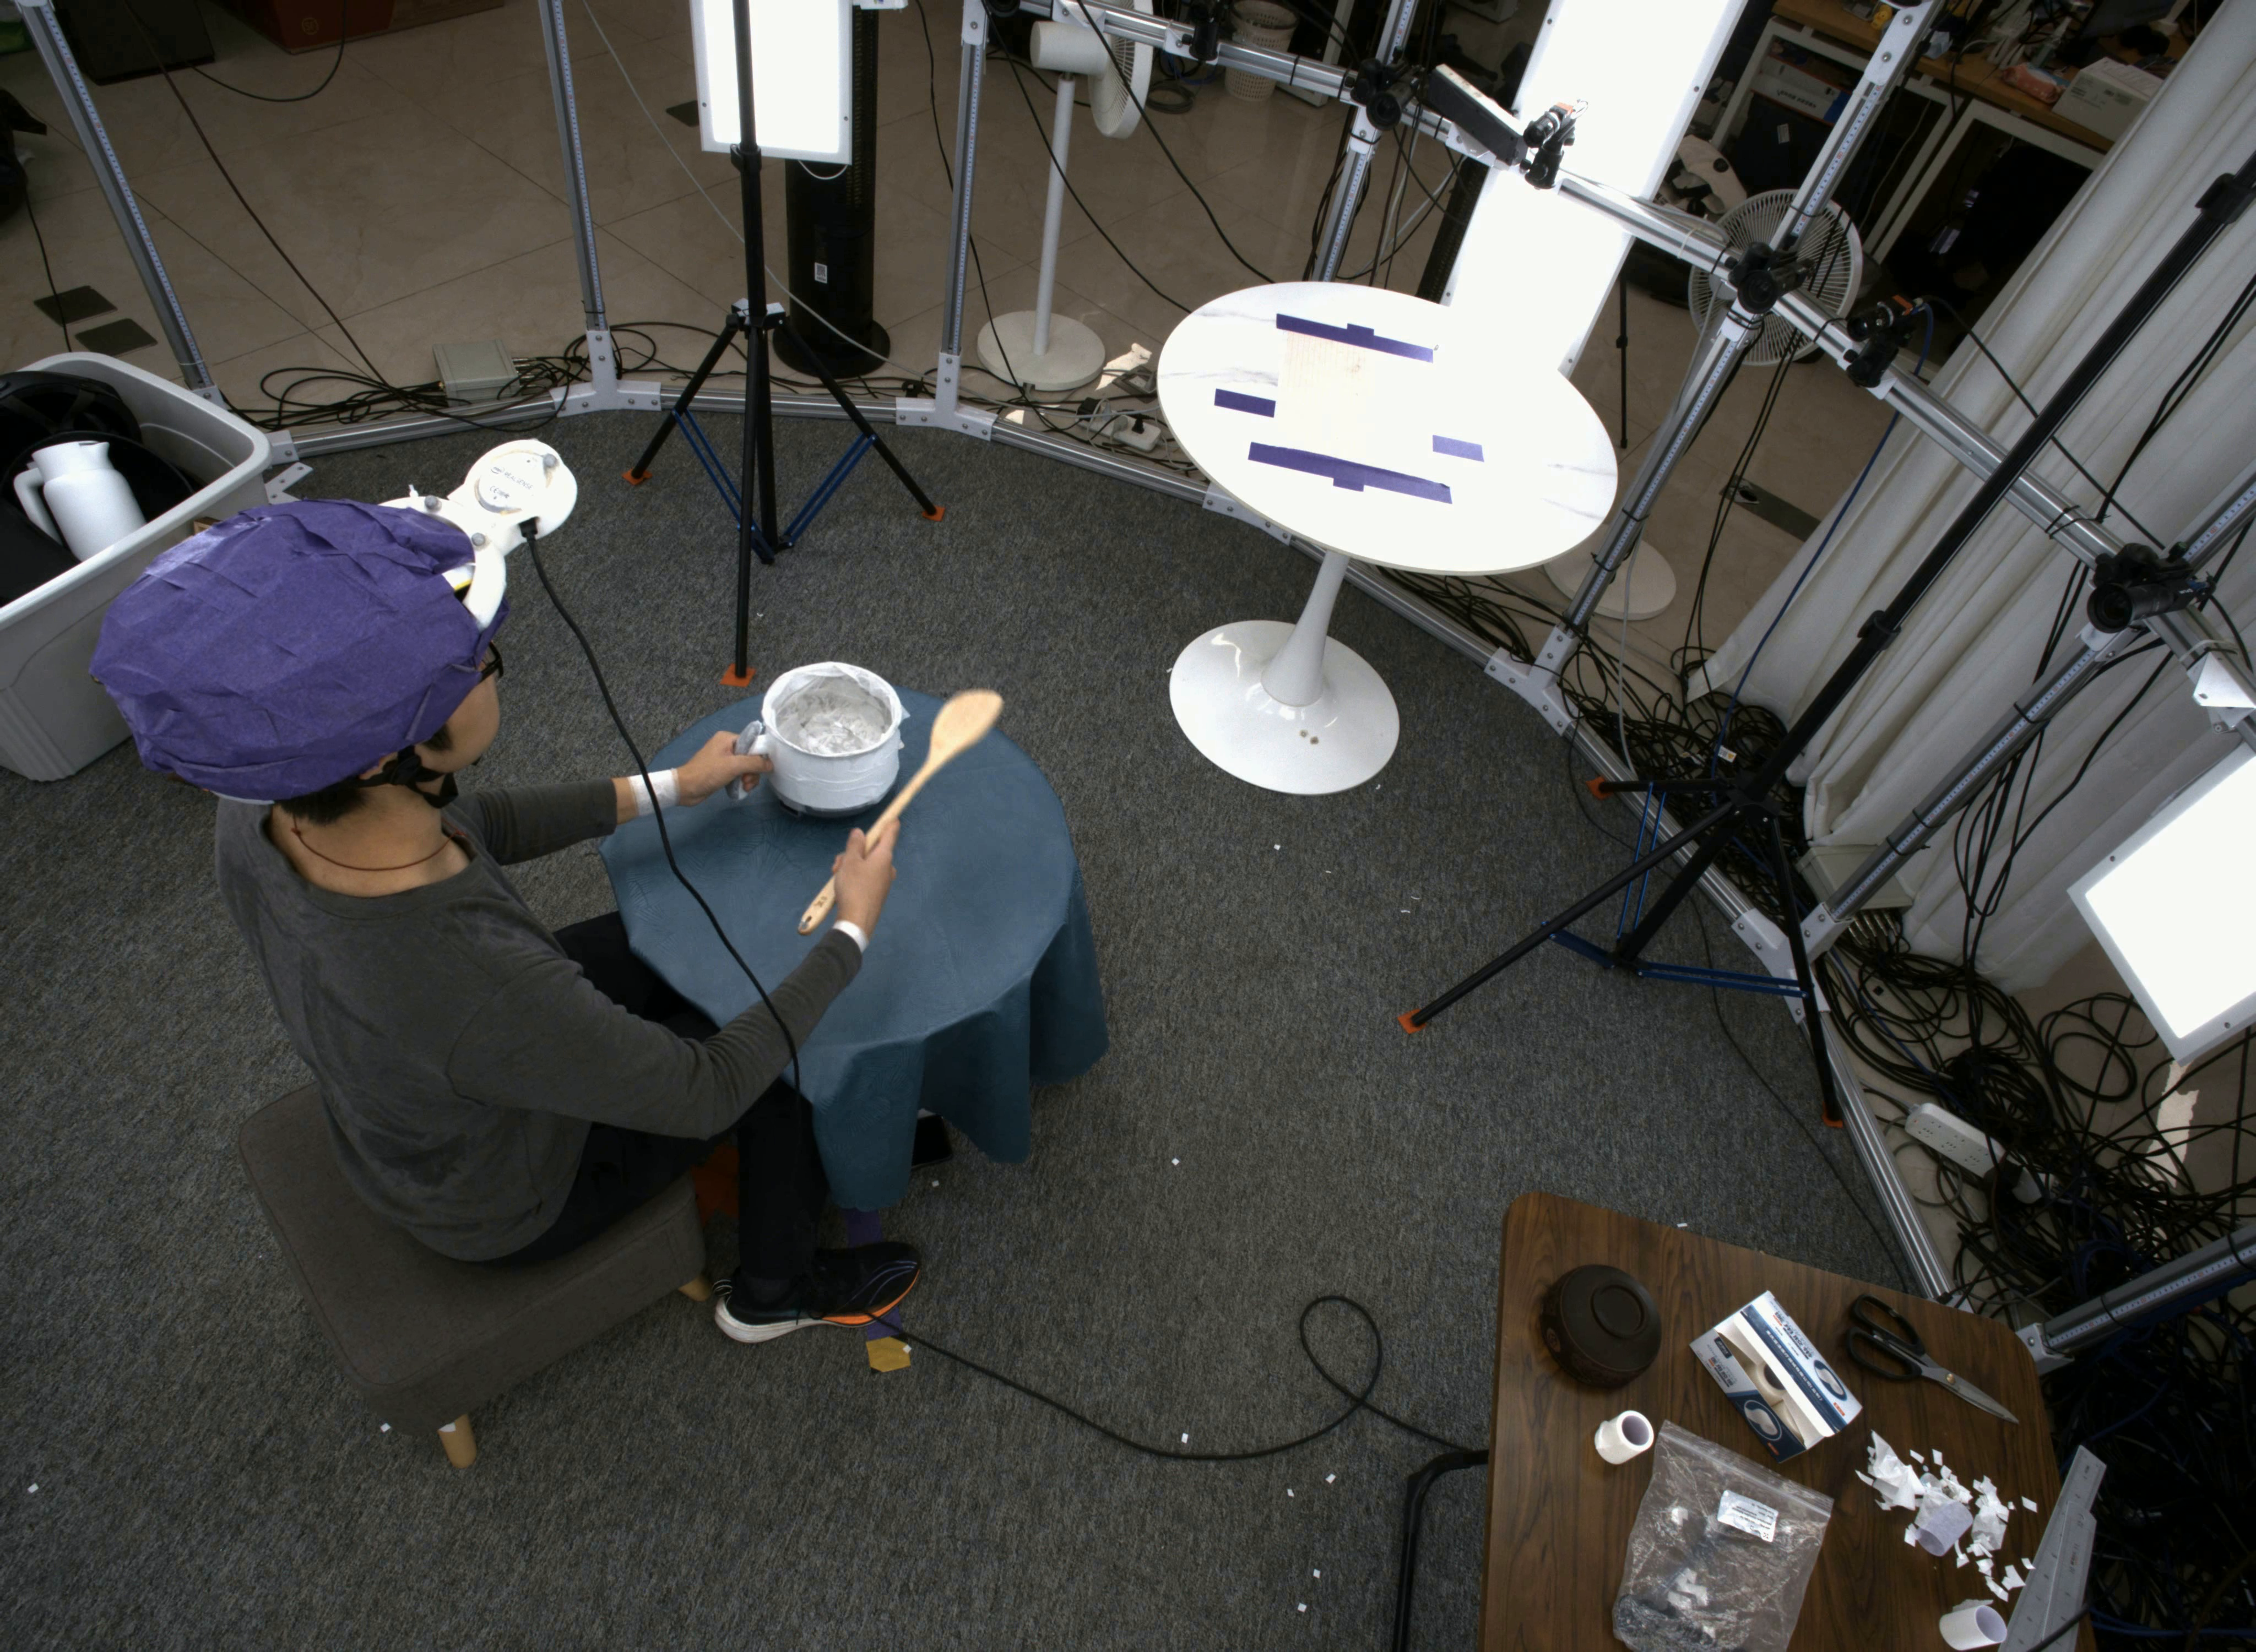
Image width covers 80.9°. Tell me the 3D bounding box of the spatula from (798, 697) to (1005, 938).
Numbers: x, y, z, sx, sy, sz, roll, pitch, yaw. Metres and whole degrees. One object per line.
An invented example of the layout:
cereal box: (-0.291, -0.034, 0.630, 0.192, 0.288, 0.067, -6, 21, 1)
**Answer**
spatula: (-0.273, -0.019, 1.560, 0.092, 0.019, 0.389, 7, 50, 38)

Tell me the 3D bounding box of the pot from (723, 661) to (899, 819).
pot: (-0.418, -0.103, 1.706, 0.235, 0.140, 0.173, -18, 54, -29)
